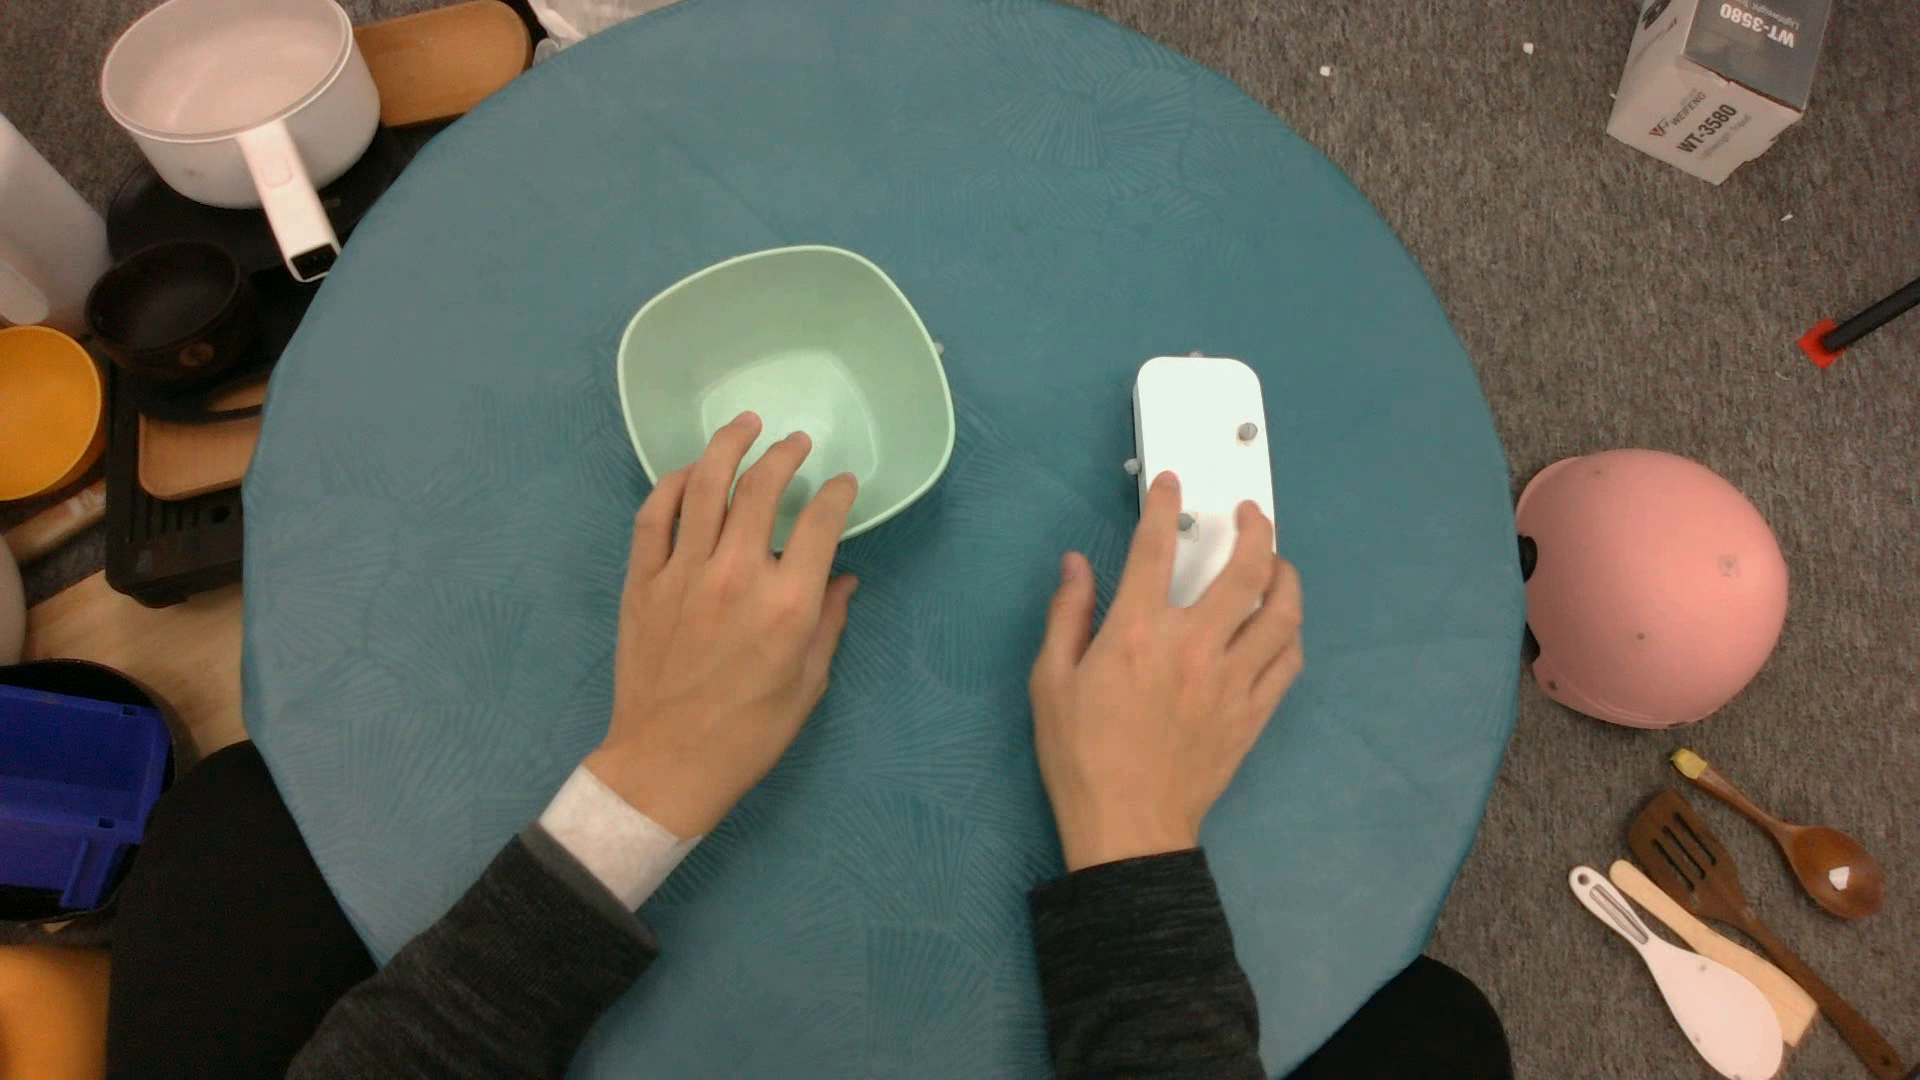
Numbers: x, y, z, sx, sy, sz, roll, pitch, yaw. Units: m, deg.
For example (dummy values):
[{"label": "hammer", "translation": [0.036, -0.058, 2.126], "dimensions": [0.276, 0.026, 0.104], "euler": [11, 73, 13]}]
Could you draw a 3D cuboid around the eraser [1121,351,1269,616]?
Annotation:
[{"label": "eraser", "translation": [0.109, -0.028, 0.658], "dimensions": [0.063, 0.034, 0.131], "euler": [0, 72, -6]}]

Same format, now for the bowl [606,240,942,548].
[{"label": "bowl", "translation": [-0.084, -0.059, 0.626], "dimensions": [0.151, 0.058, 0.152], "euler": [2, 72, -6]}]
